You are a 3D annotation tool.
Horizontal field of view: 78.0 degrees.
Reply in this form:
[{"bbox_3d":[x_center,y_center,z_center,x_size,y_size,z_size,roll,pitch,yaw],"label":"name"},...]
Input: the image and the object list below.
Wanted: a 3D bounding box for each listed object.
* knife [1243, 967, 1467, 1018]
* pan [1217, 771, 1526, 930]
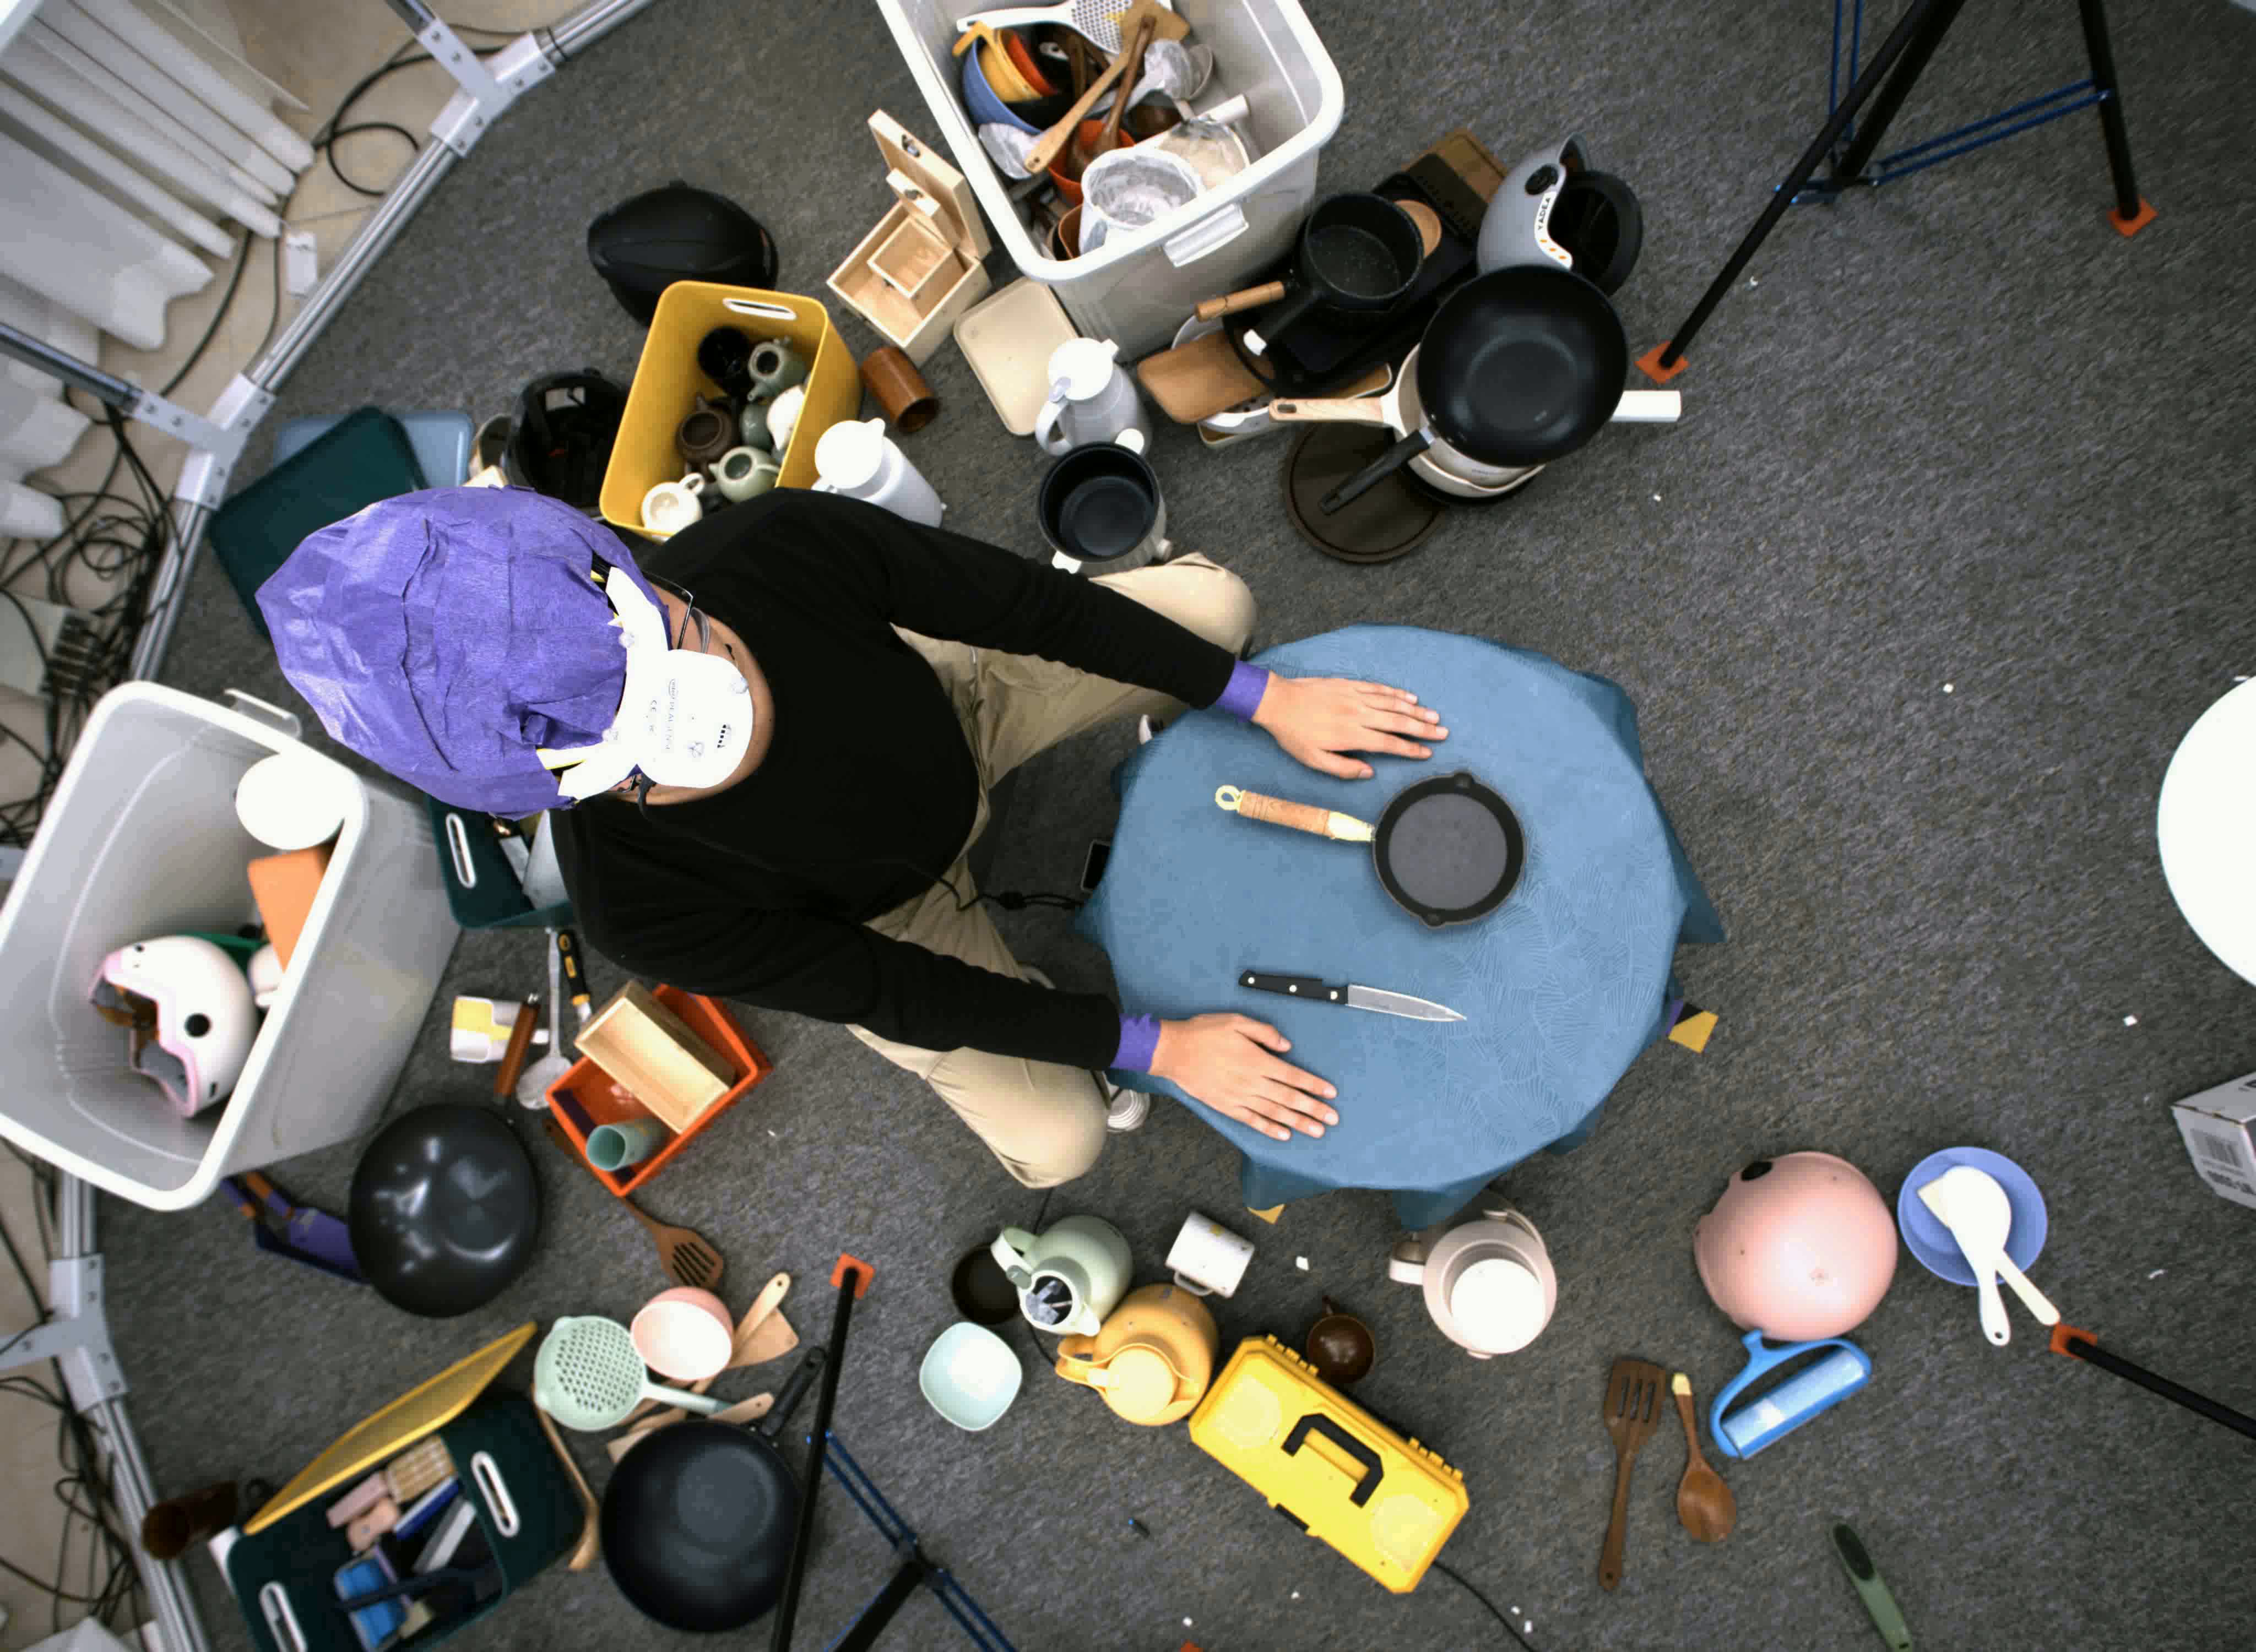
[{"bbox_3d":[0.237,0.178,1.457,0.238,0.016,0.024,10,88,9],"label":"knife"},{"bbox_3d":[0.252,0.003,1.445,0.324,0.049,0.168,15,90,12],"label":"pan"}]
